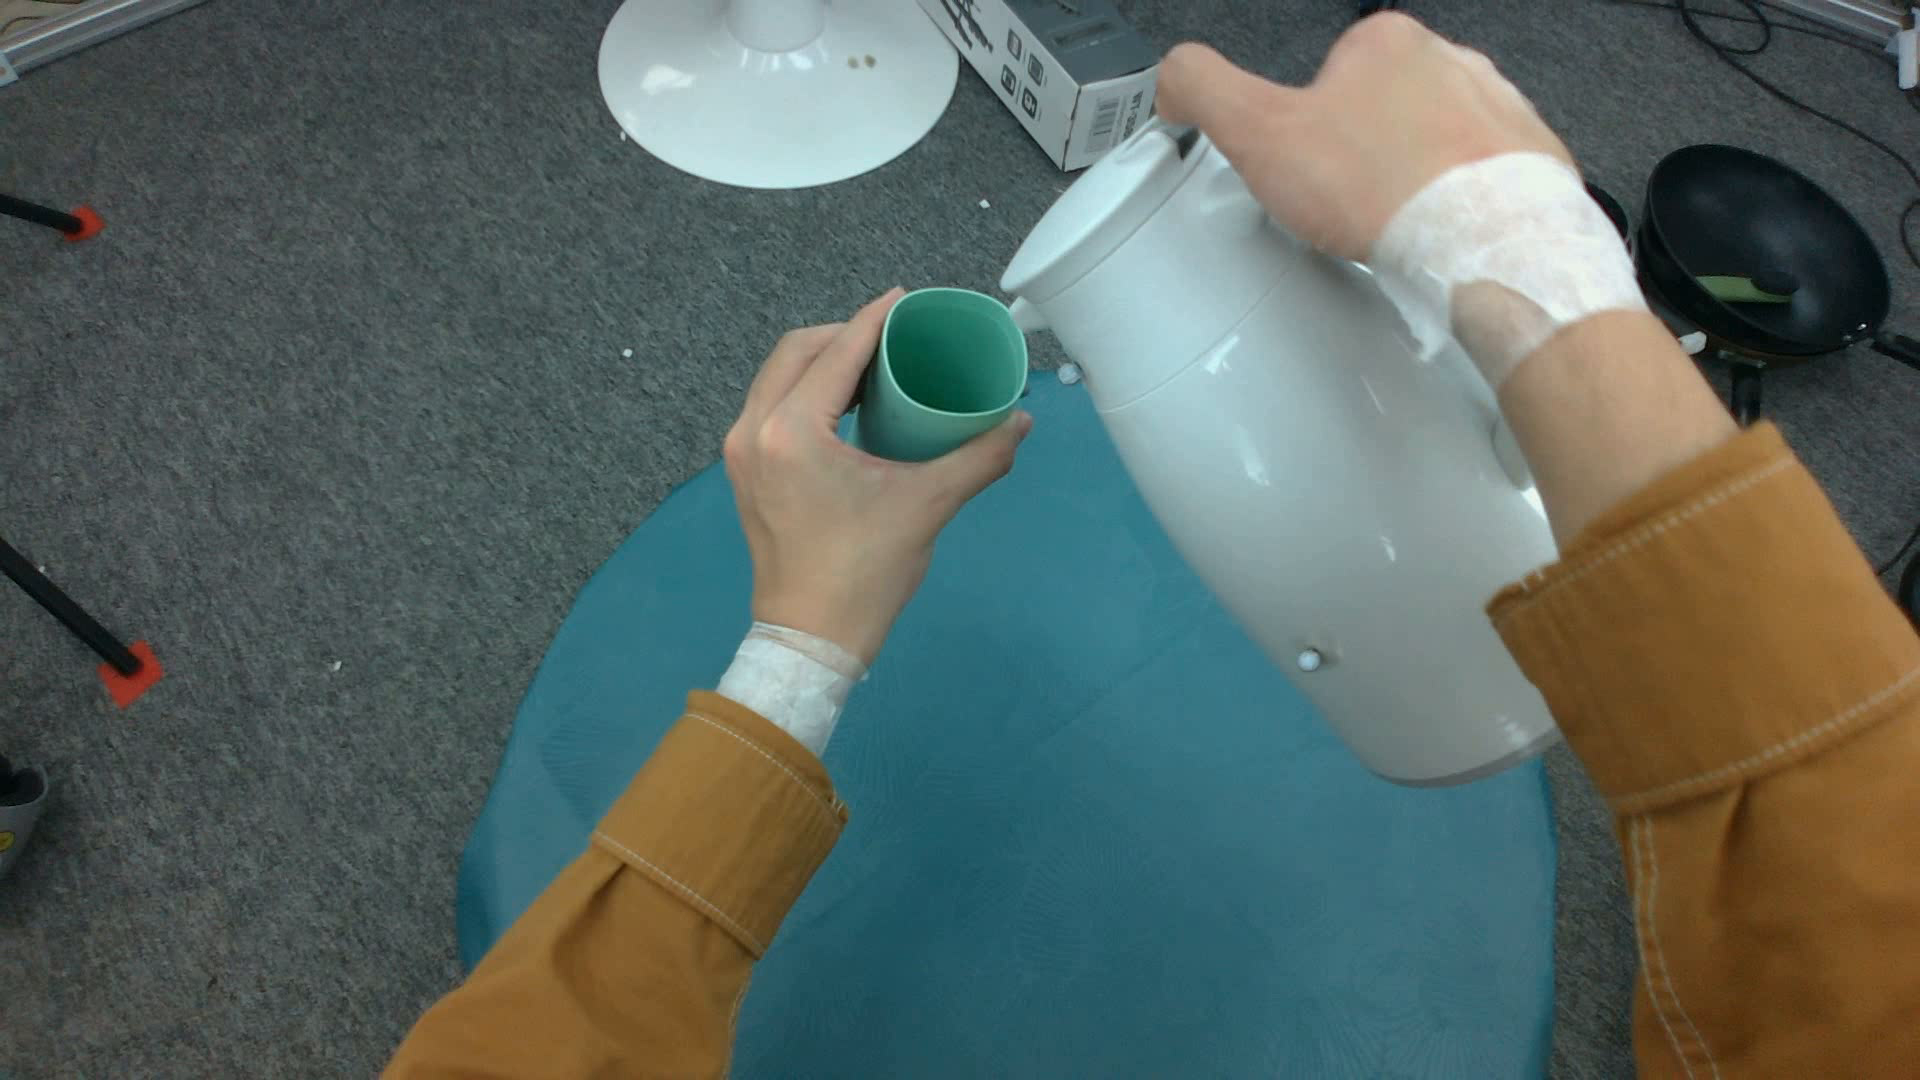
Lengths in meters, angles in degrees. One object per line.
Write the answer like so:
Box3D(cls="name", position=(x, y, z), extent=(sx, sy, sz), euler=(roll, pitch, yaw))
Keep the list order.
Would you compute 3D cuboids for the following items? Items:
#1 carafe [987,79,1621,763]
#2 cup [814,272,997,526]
Box3D(cls="carafe", position=(0.133, -0.052, 0.505), extent=(0.248, 0.167, 0.133), euler=(47, 51, -17))
Box3D(cls="cup", position=(-0.029, -0.060, 0.636), extent=(0.067, 0.131, 0.067), euler=(6, 65, -12))
